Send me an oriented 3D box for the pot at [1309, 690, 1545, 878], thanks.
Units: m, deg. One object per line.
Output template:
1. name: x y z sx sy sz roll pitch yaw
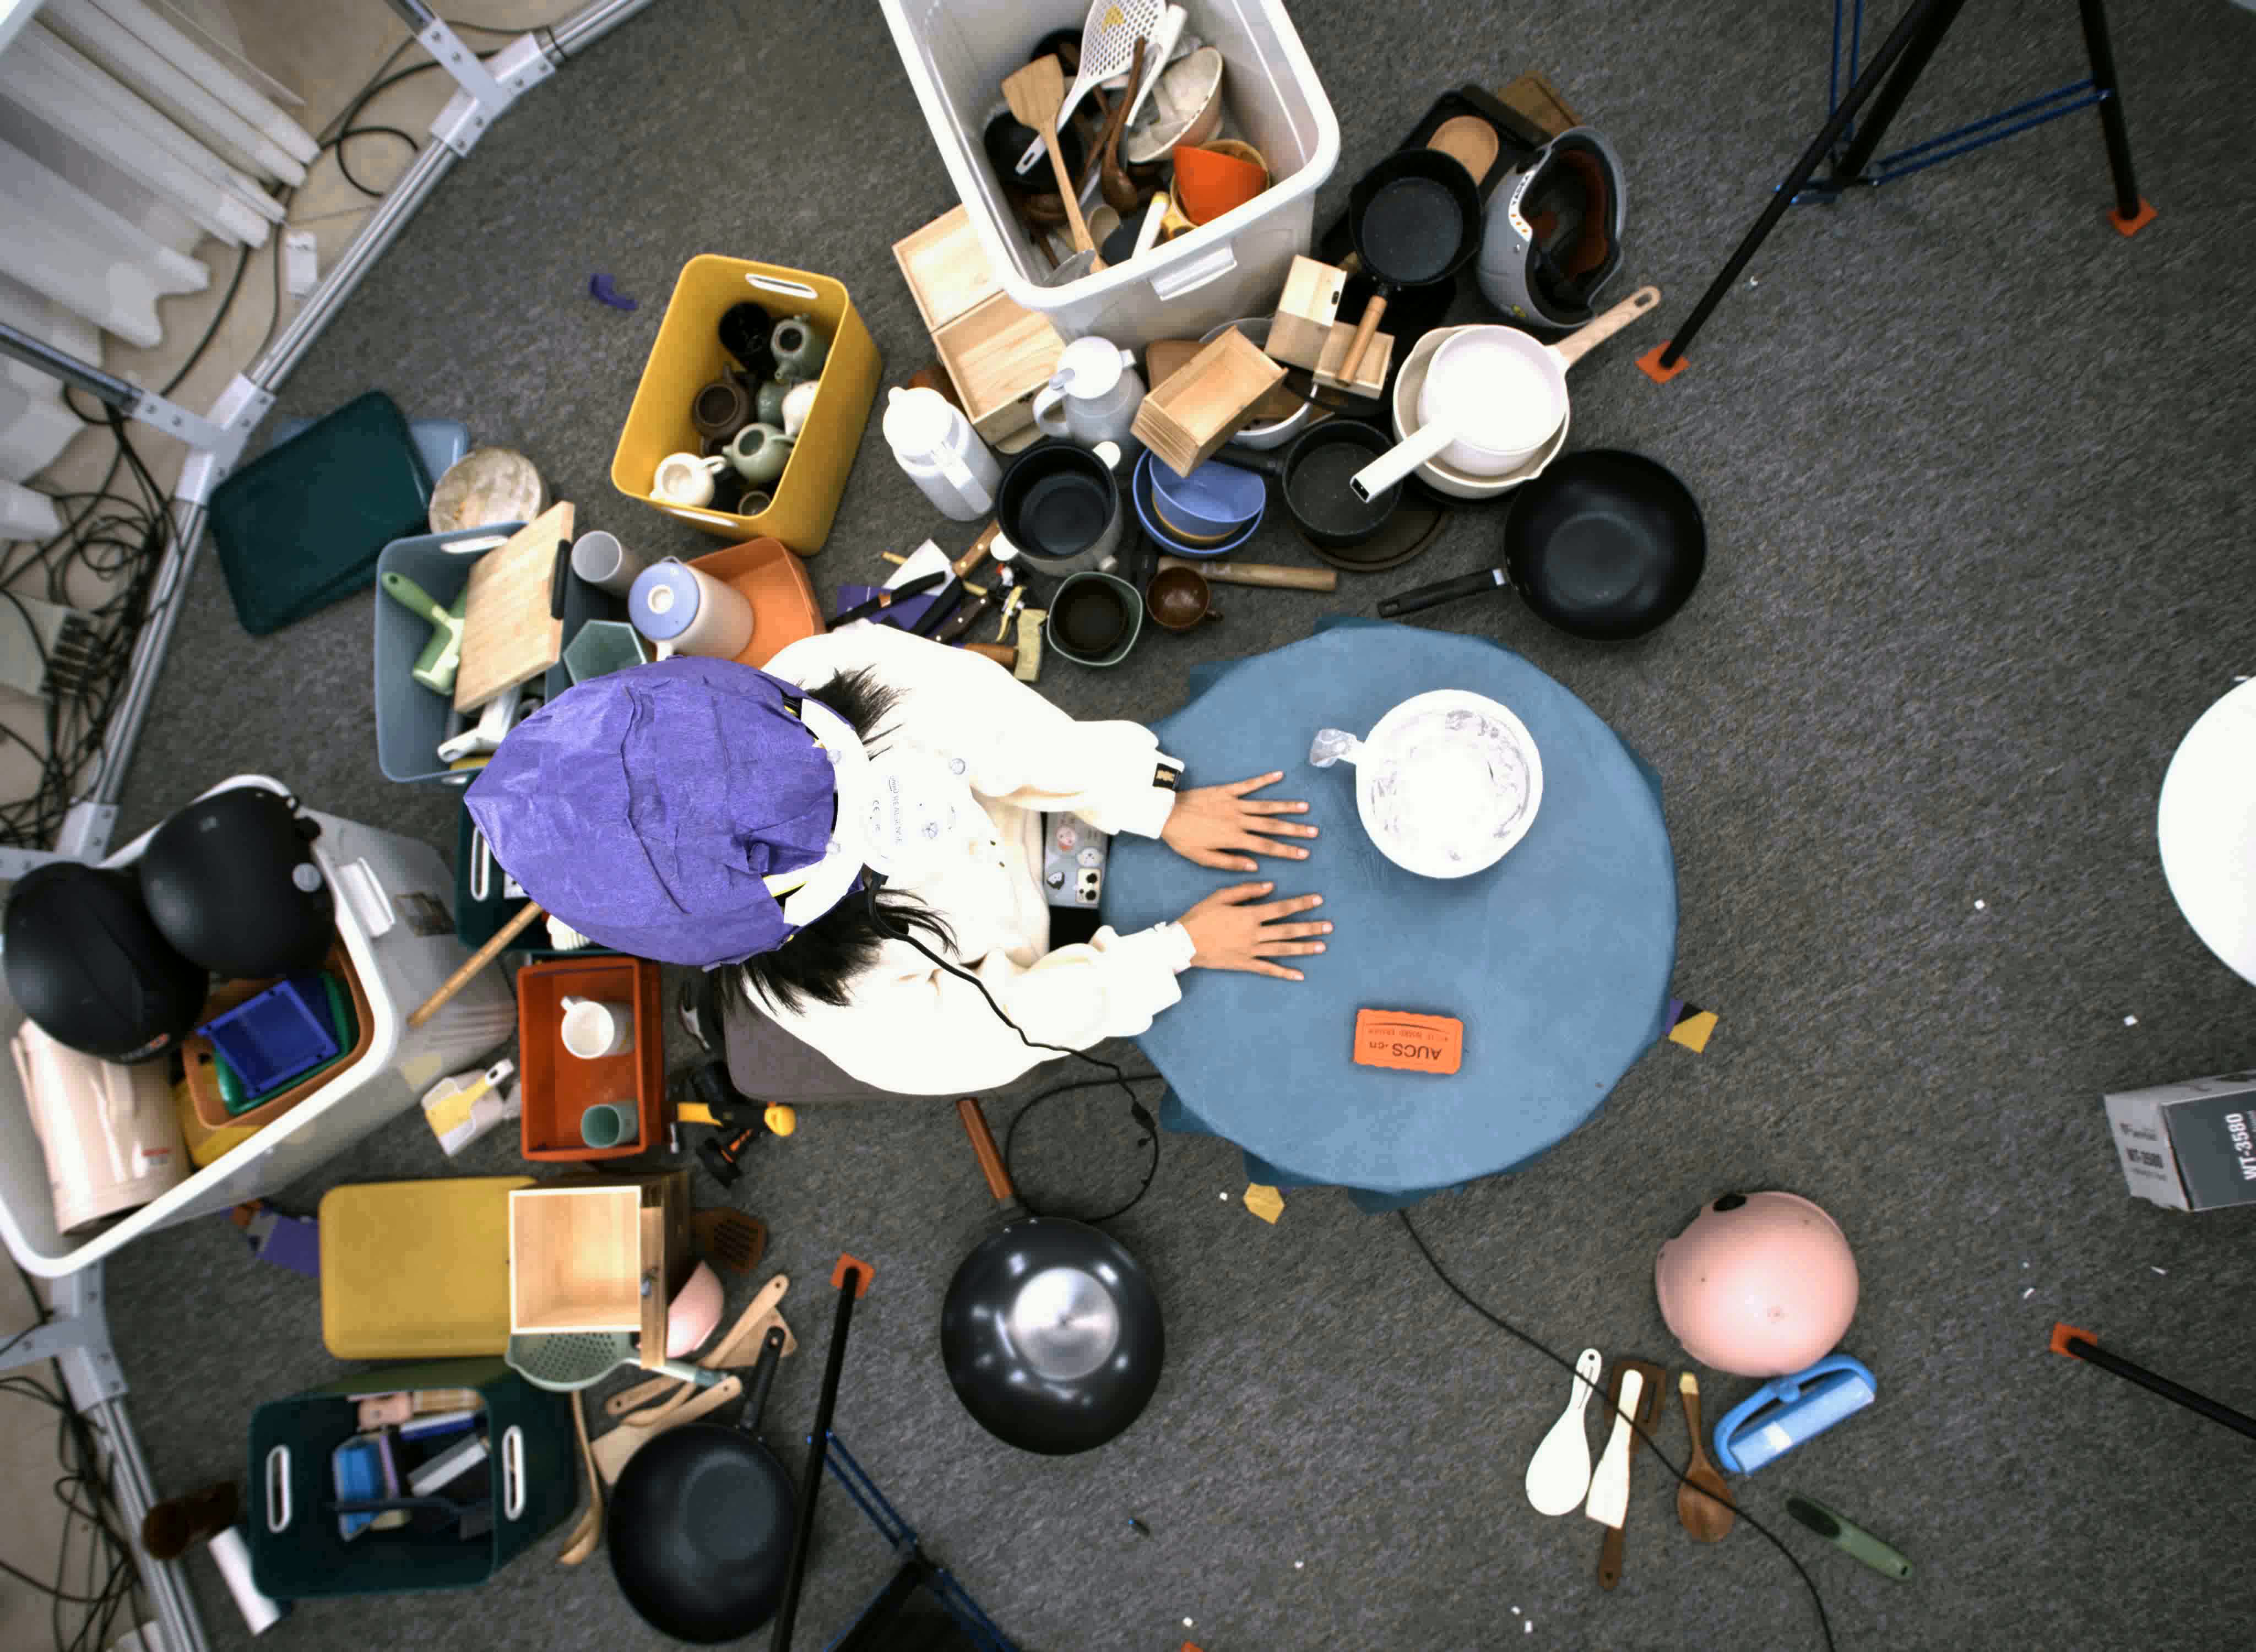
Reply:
1. pot: 0.295 -0.049 1.391 0.234 0.137 0.178 19 89 10

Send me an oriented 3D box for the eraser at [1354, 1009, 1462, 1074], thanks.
1. eraser: 0.290 0.221 1.433 0.108 0.023 0.059 4 87 13
